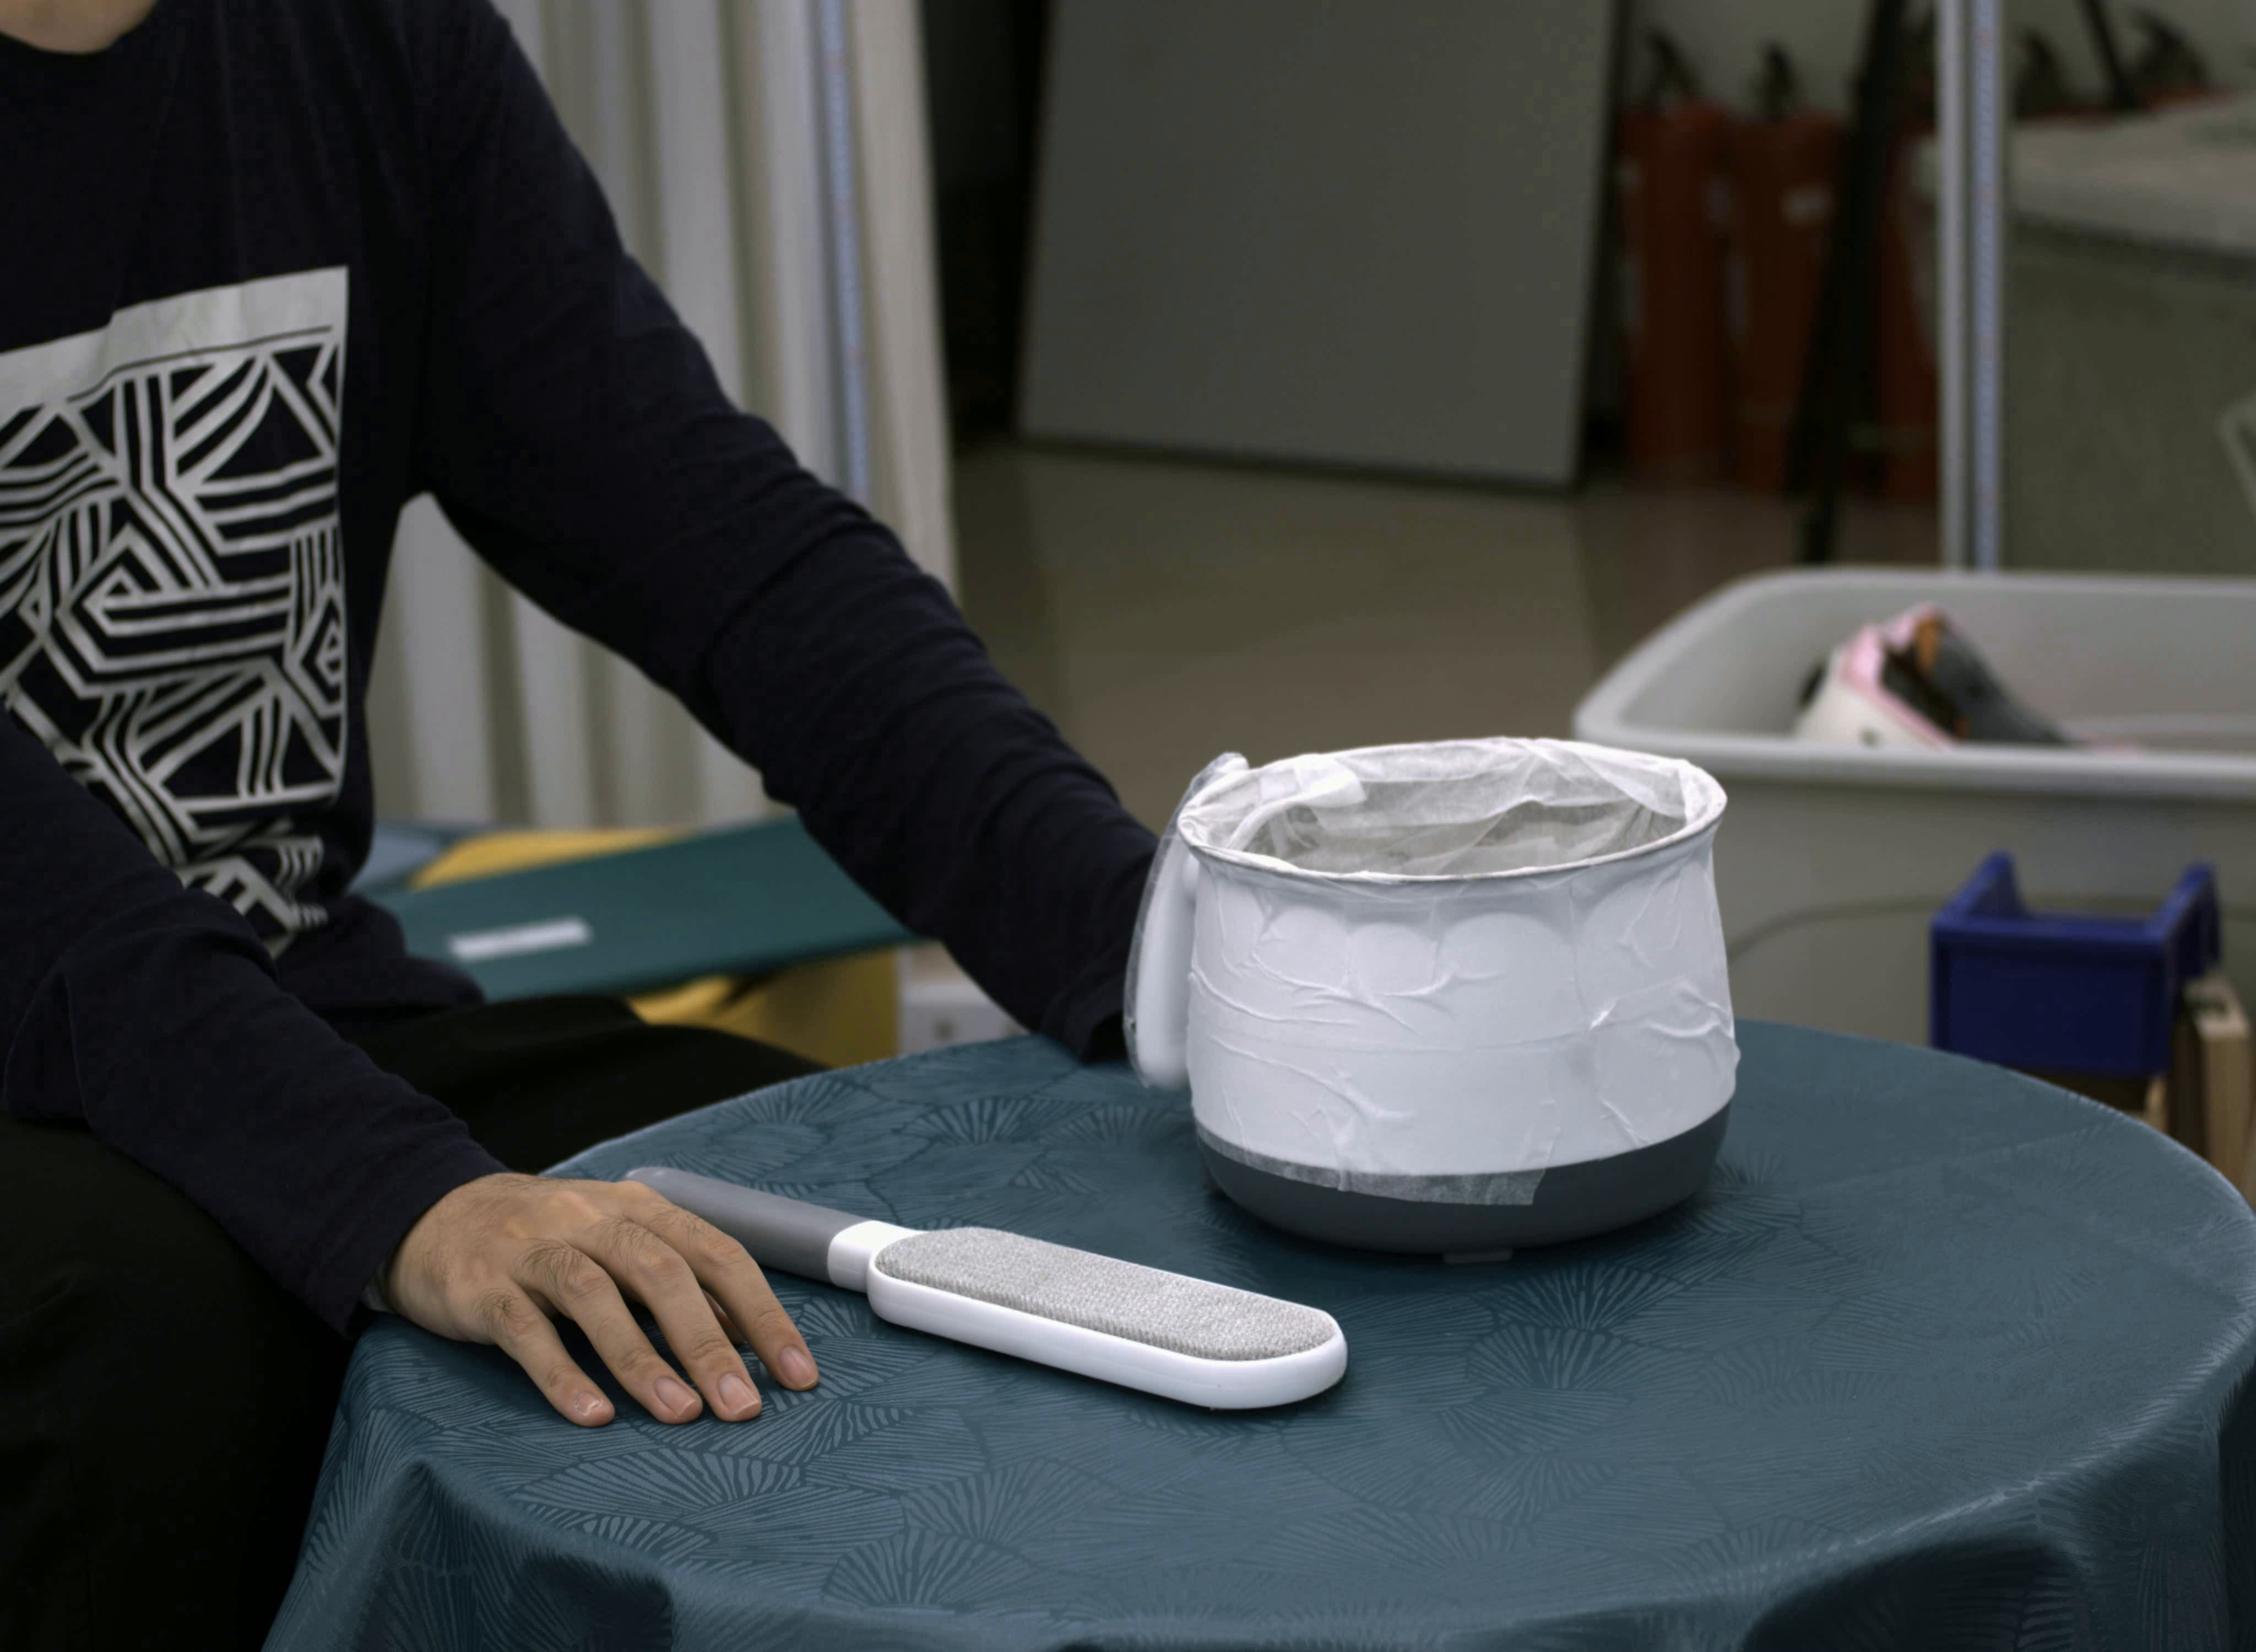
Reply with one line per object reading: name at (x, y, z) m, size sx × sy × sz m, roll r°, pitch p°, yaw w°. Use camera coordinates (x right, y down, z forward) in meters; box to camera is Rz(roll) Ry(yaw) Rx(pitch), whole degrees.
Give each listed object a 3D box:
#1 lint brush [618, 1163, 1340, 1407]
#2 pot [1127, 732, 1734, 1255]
lint brush at (-0.053, 0.138, 1.666) m, size 0.059 × 0.021 × 0.312 m, roll -24°, pitch 23°, yaw -40°
pot at (0.087, 0.048, 1.749) m, size 0.175 × 0.138 × 0.236 m, roll -13°, pitch 16°, yaw -43°
